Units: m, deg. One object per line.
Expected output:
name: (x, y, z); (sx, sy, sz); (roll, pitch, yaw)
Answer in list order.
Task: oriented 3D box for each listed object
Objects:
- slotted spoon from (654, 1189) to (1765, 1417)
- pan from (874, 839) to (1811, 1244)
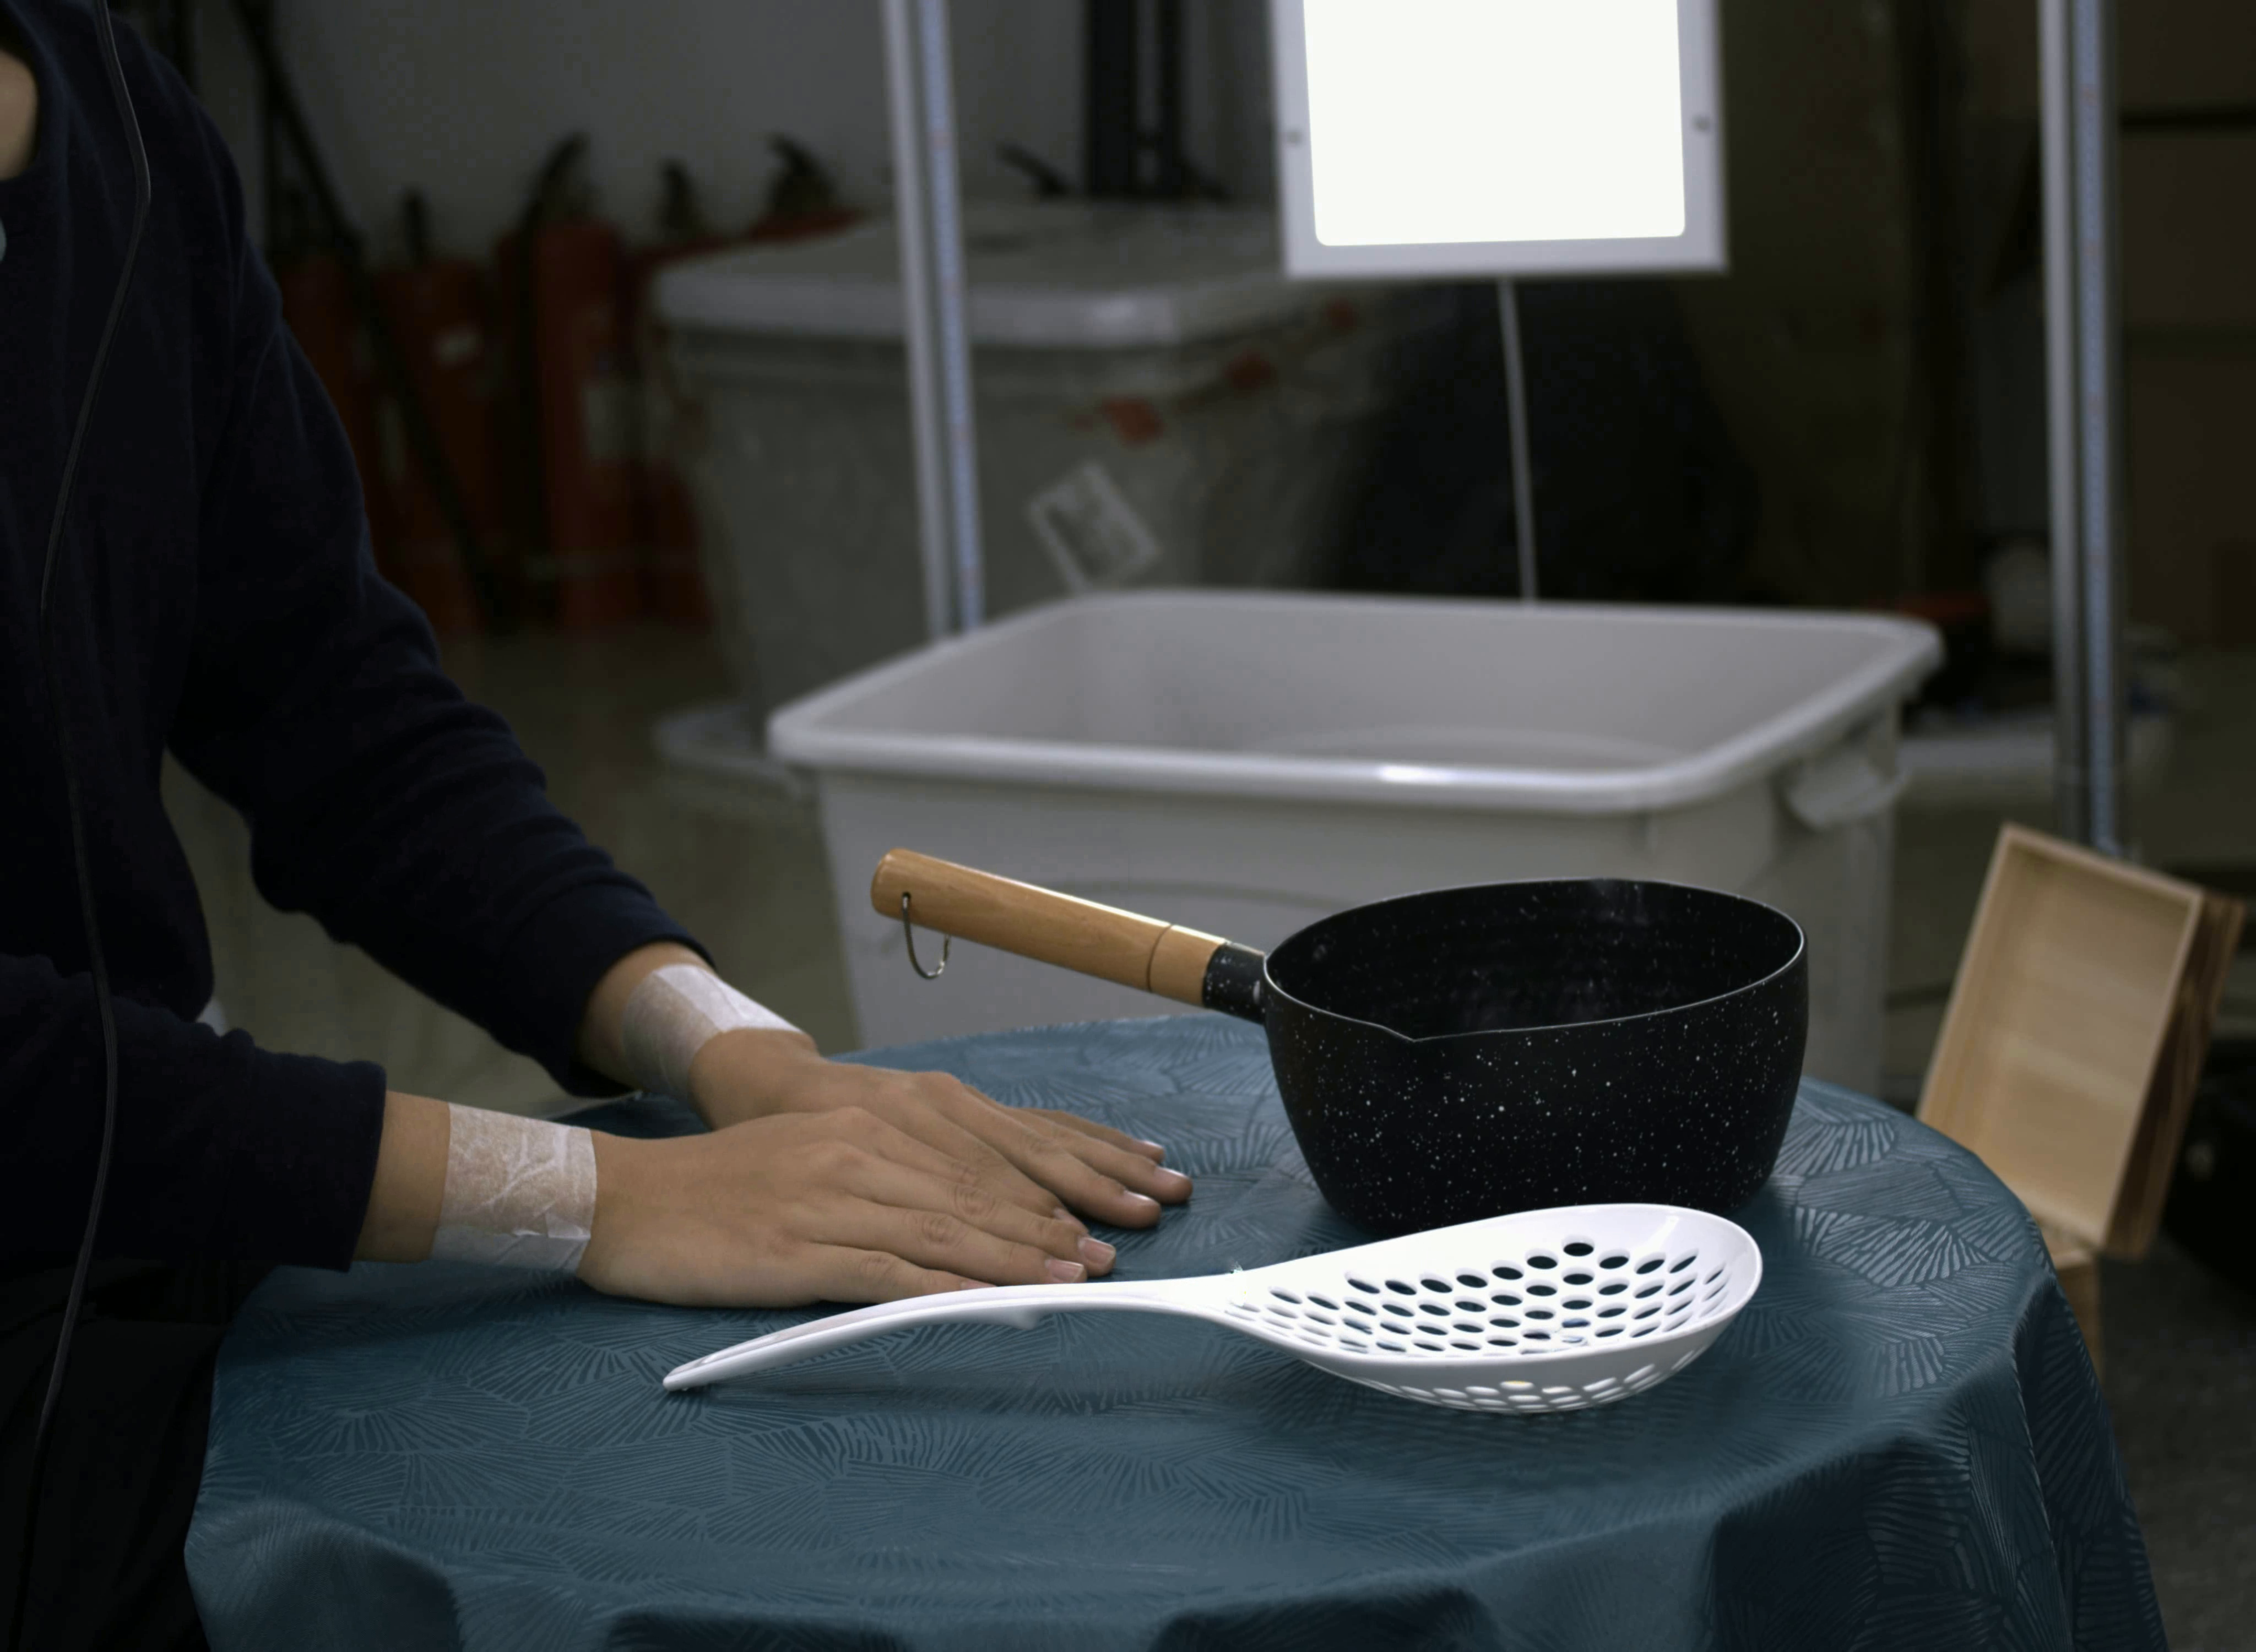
slotted spoon: (0.022, 0.154, 1.688); (0.351, 0.050, 0.135); (0, 16, 14)
pan: (0.067, 0.067, 1.886); (0.348, 0.108, 0.203); (3, 17, 26)
